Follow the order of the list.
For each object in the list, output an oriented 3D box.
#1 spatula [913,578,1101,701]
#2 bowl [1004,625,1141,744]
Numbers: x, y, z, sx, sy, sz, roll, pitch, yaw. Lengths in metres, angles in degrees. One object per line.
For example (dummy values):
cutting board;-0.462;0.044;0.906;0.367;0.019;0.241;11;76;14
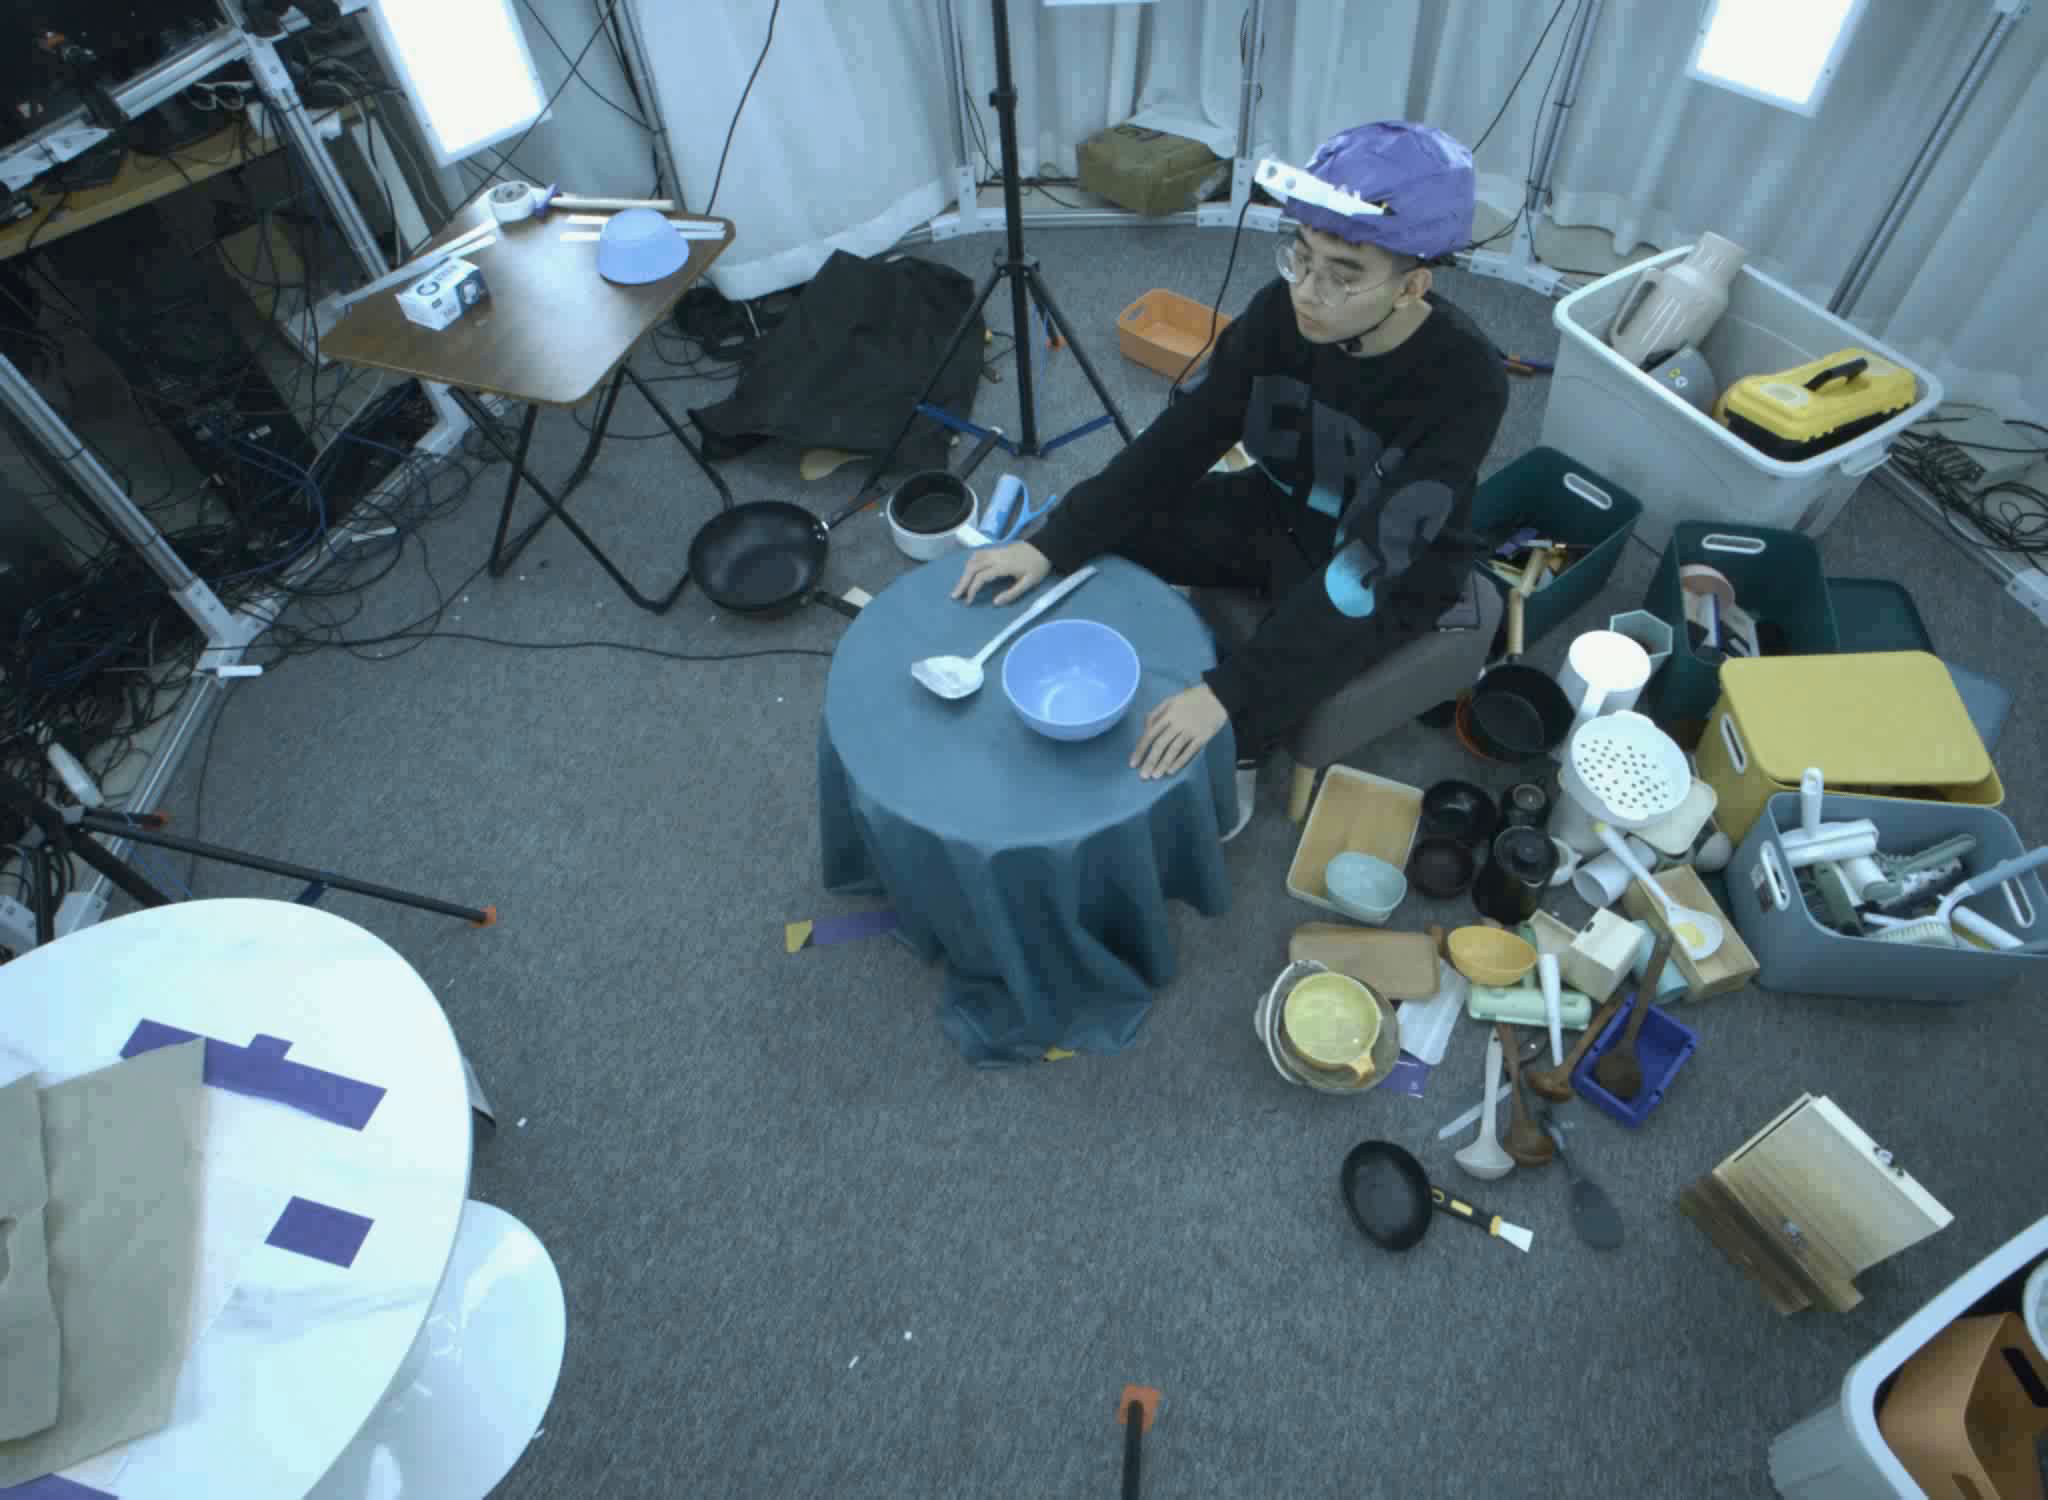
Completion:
spatula;-0.014;-0.186;1.905;0.367;0.045;0.097;-40;61;-23
bowl;0.071;-0.081;1.796;0.196;0.096;0.194;0;53;2
